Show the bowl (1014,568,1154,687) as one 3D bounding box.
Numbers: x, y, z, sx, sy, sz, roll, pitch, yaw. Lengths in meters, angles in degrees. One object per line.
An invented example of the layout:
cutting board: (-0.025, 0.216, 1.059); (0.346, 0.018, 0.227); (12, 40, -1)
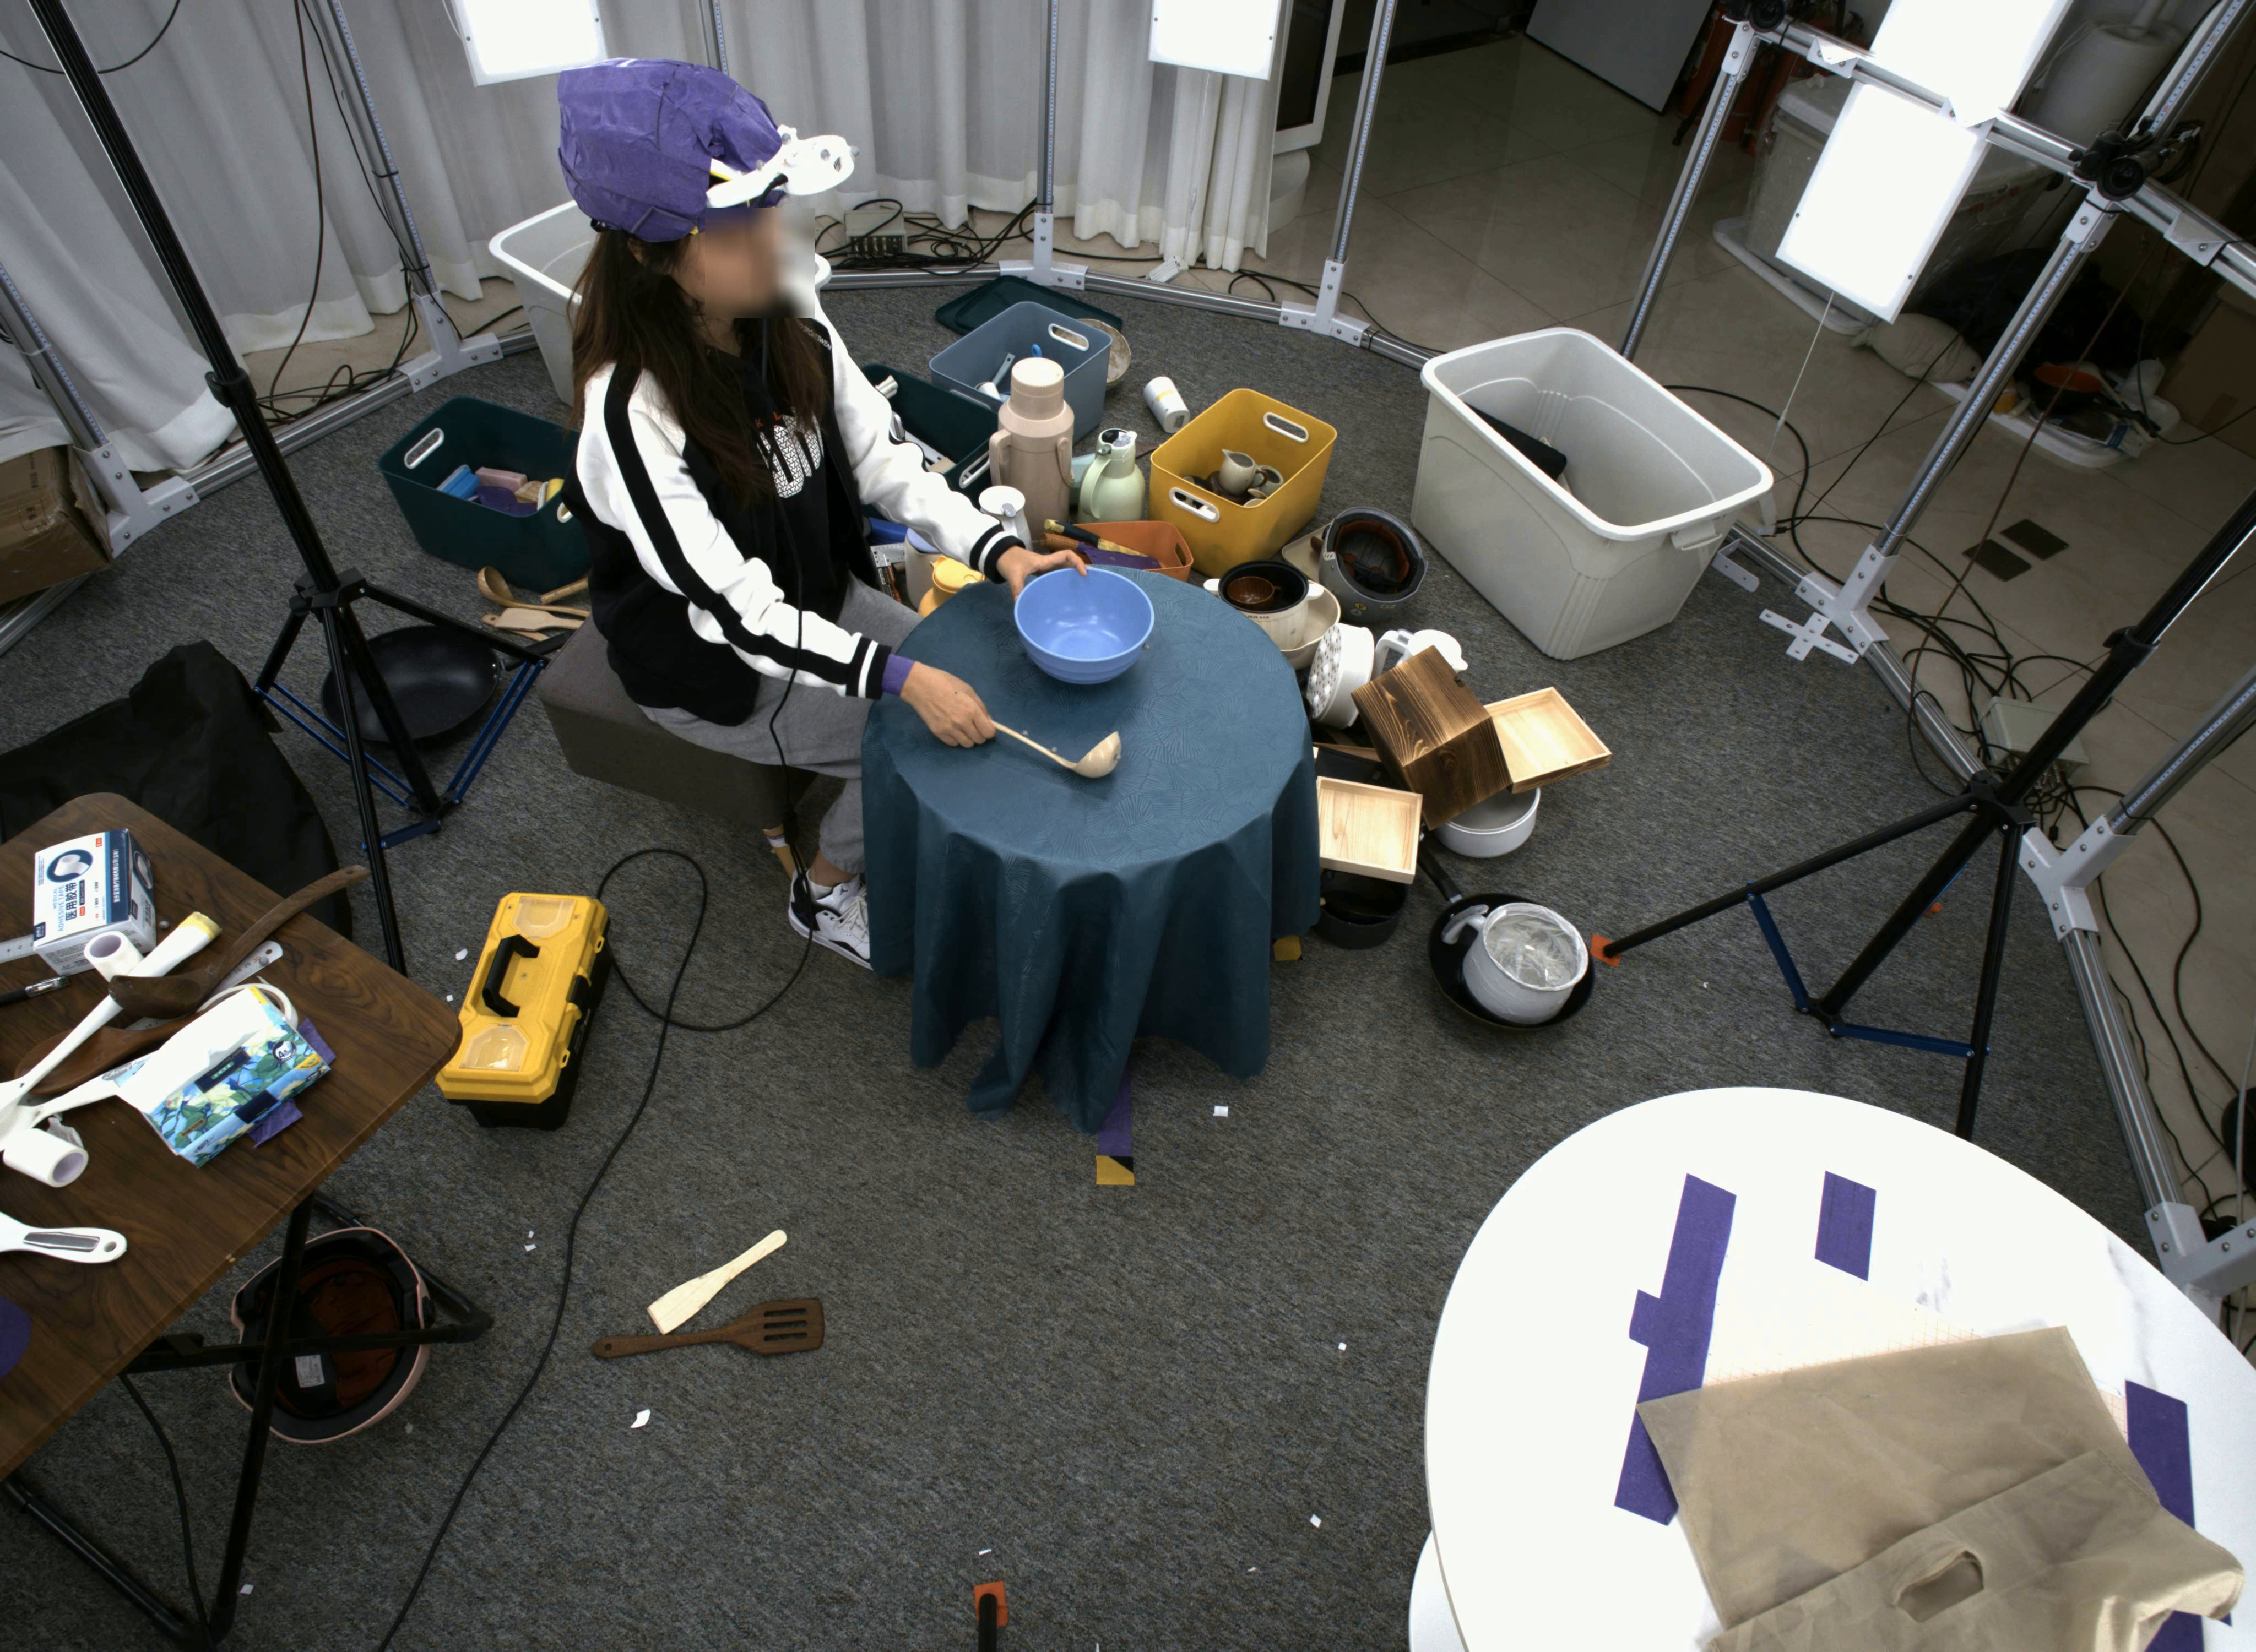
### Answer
bowl: (-0.063, -0.269, 1.842); (0.196, 0.093, 0.201); (1, 51, -2)

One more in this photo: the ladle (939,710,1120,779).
ladle: (-0.132, -0.137, 1.725); (0.256, 0.072, 0.073); (24, 21, 12)
